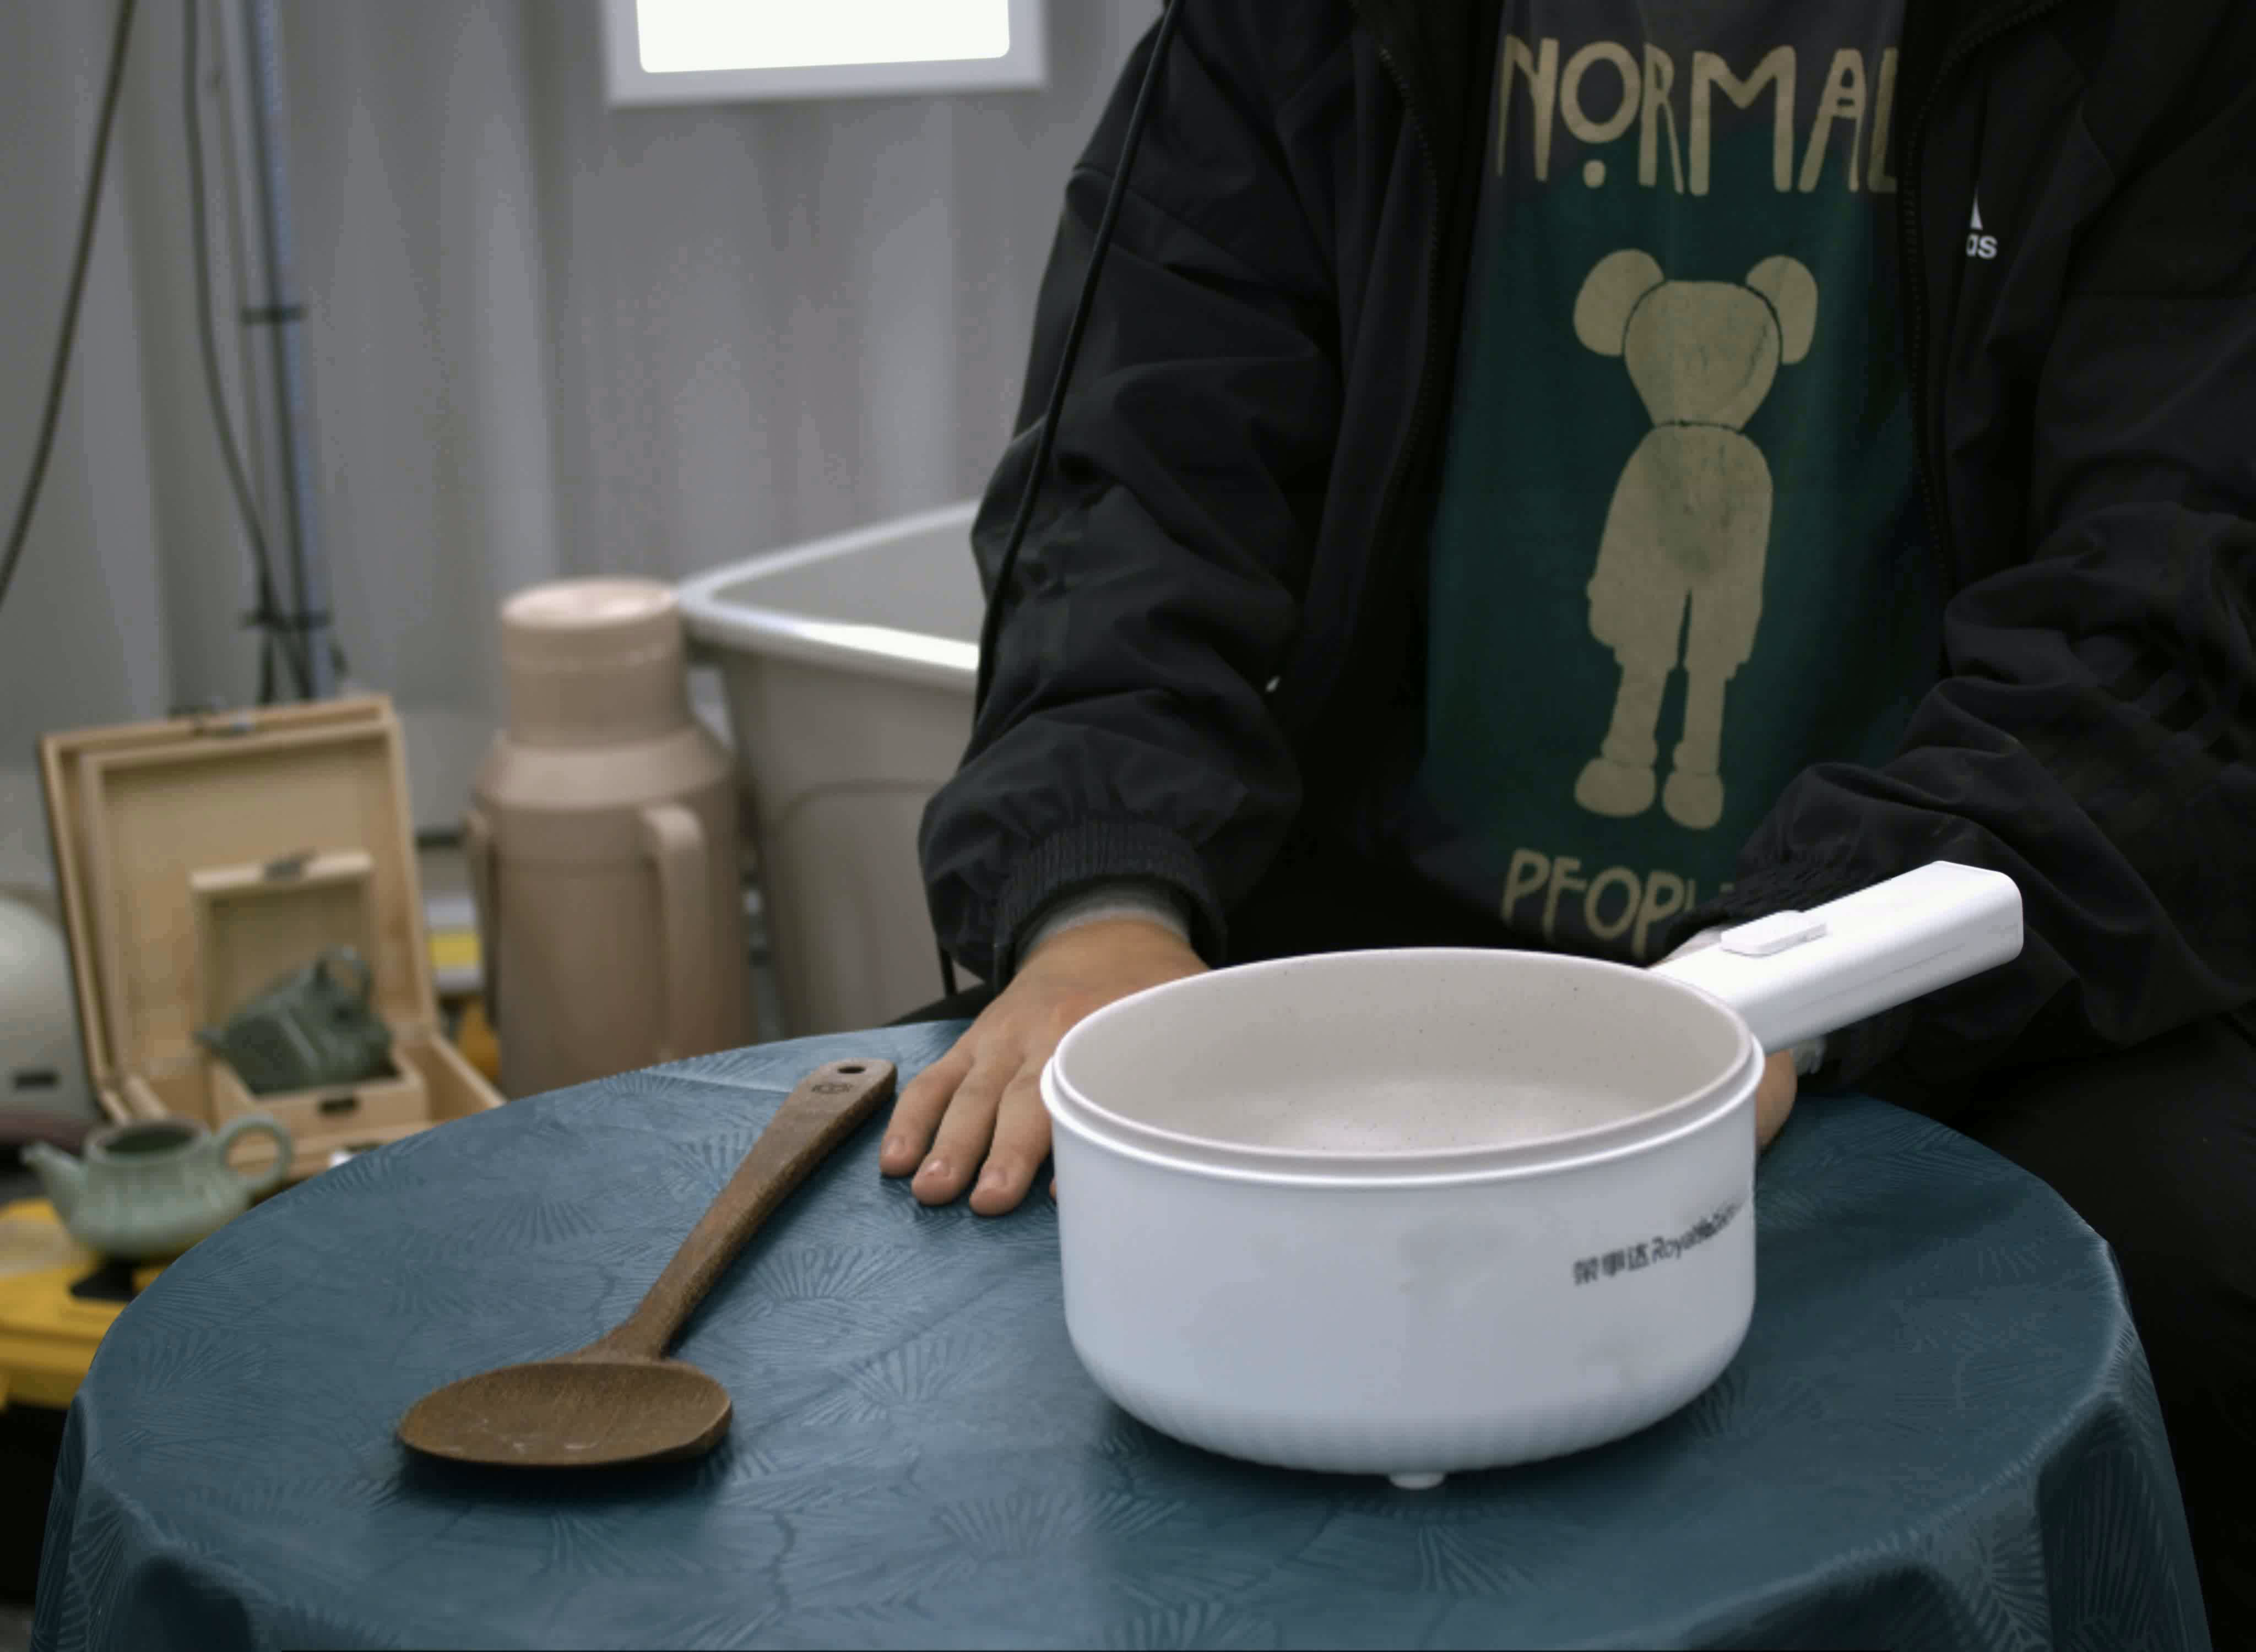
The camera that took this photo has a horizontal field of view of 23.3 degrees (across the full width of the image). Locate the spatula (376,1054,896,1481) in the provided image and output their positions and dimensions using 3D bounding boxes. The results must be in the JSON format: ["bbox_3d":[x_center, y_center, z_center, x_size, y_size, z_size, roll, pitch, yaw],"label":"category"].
[{"bbox_3d":[-0.127,0.127,1.662,0.096,0.016,0.388,1,15,12],"label":"spatula"}]

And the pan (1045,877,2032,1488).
[{"bbox_3d":[0.134,0.096,1.576,0.354,0.102,0.202,-14,17,-41],"label":"pan"}]
